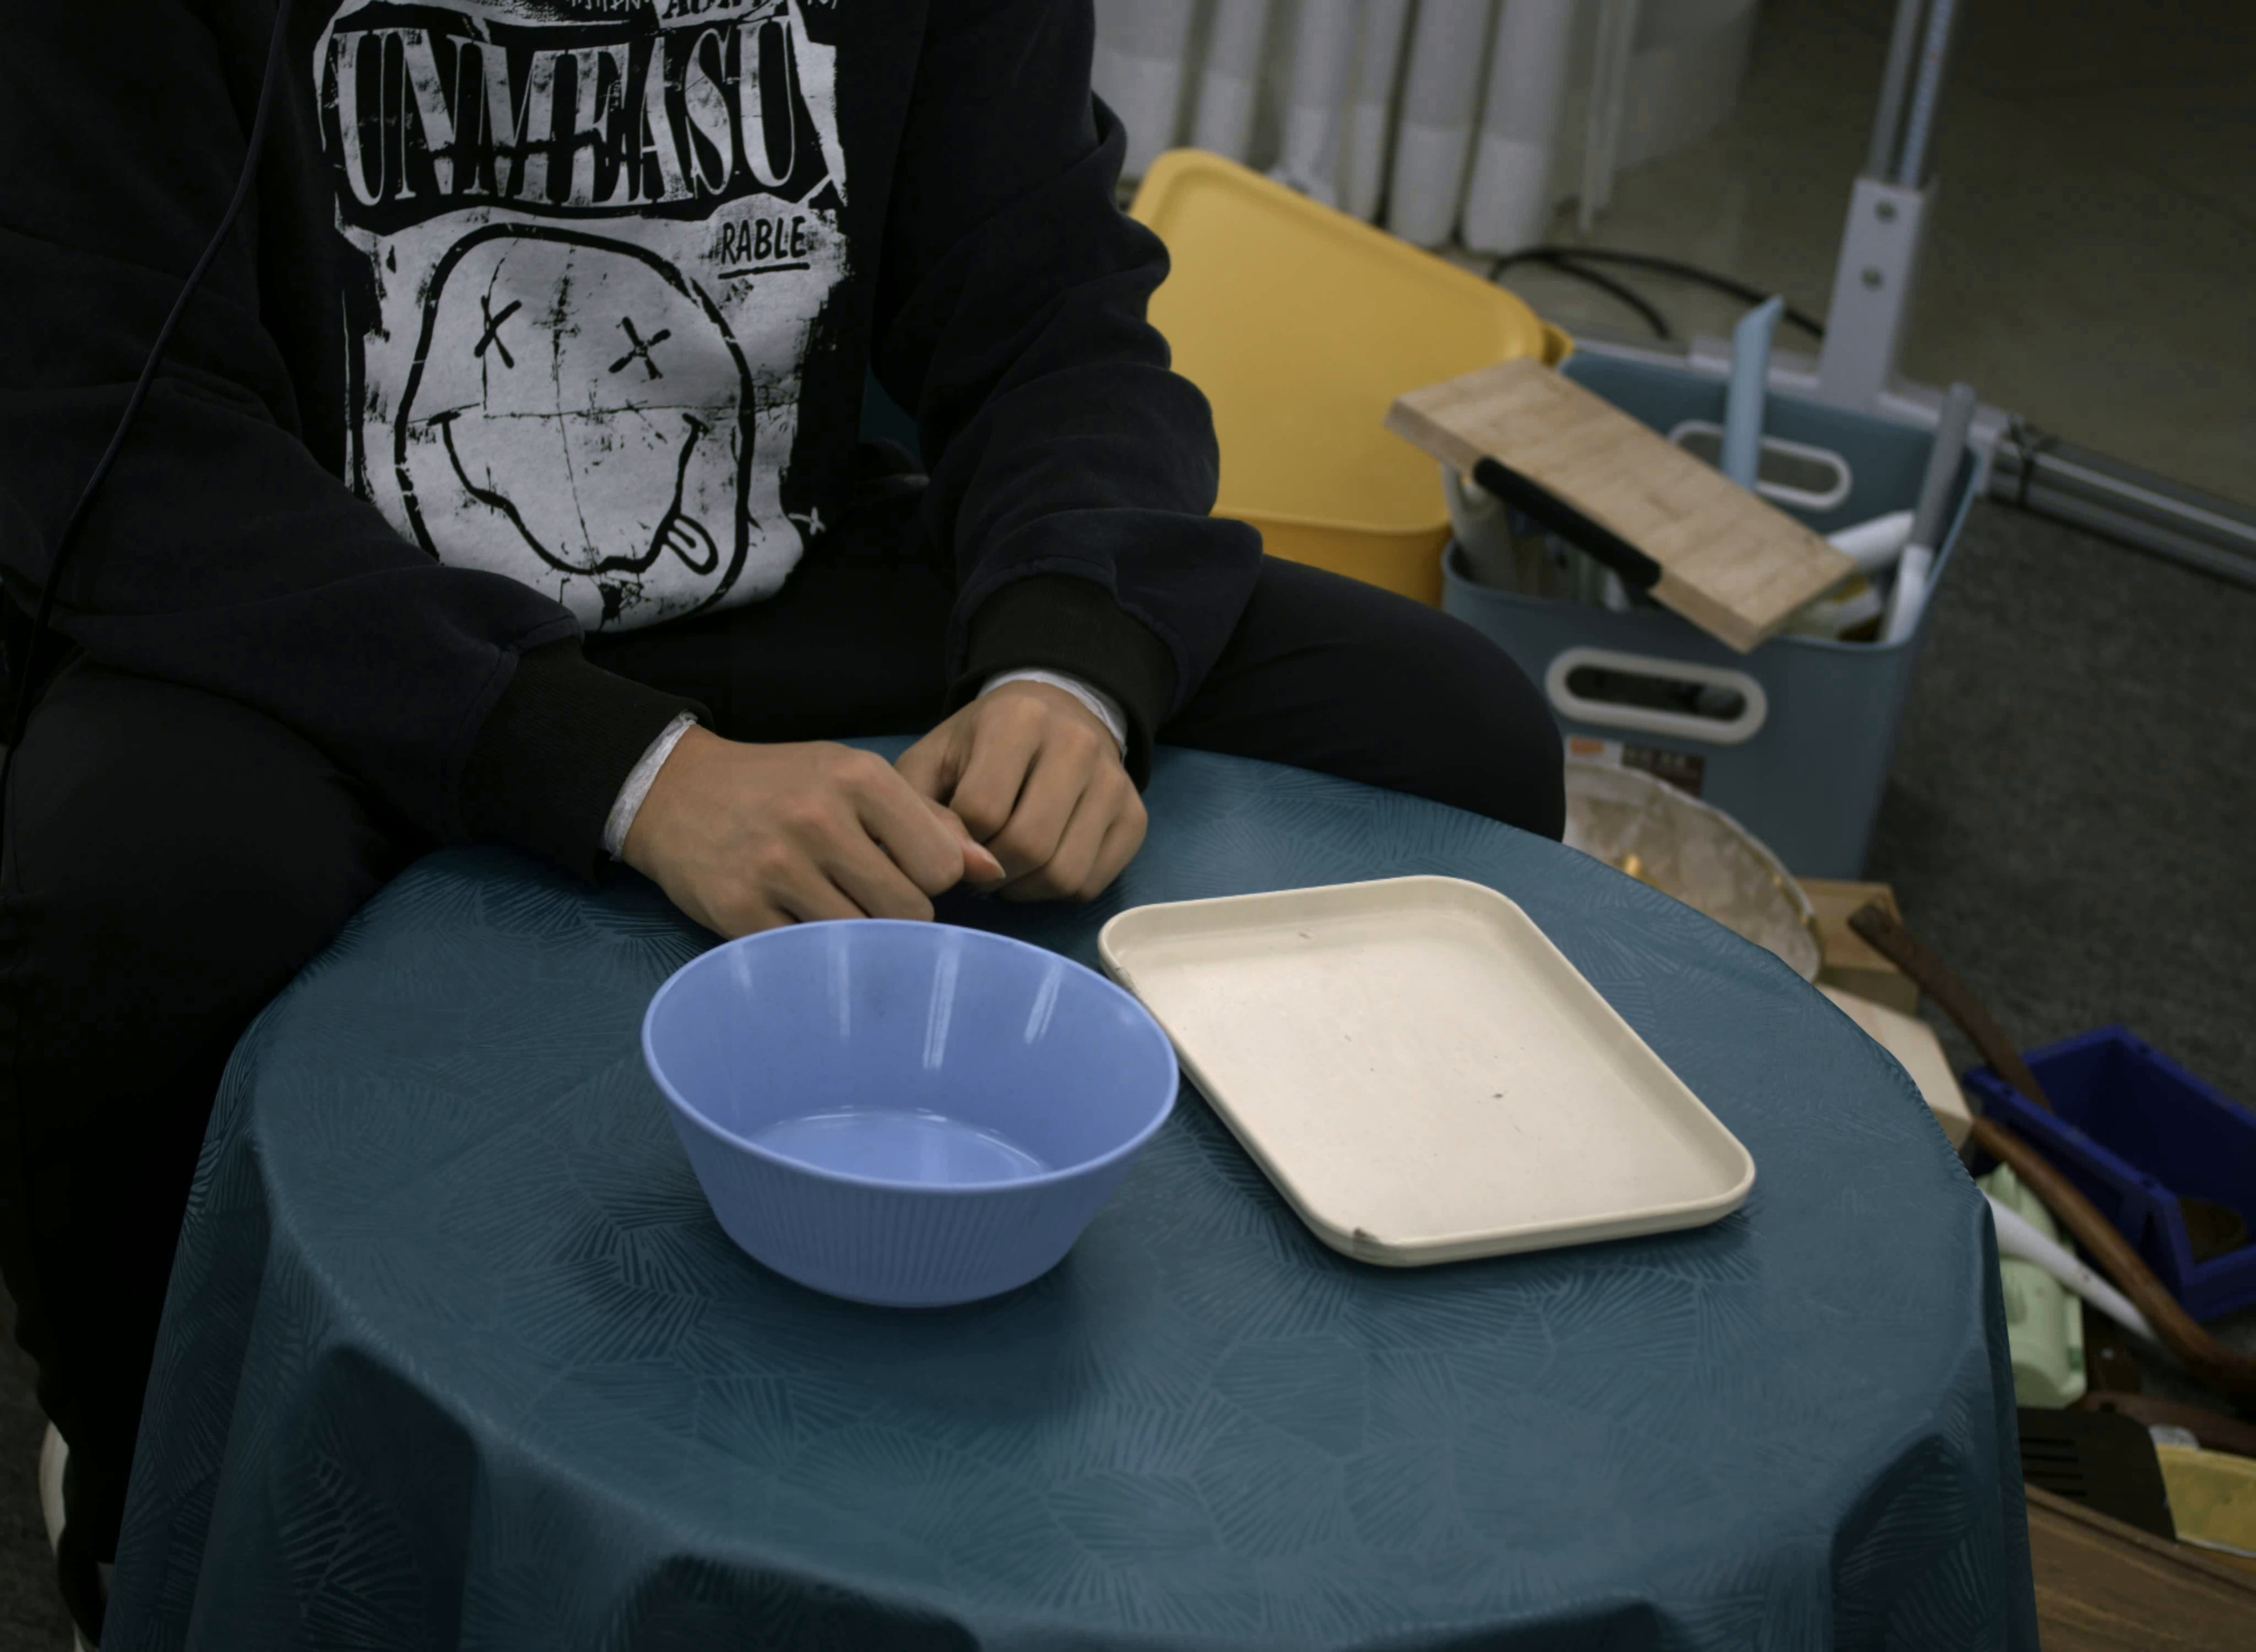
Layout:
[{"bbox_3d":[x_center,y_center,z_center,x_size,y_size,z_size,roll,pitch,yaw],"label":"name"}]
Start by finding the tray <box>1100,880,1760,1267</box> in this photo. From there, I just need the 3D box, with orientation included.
[{"bbox_3d":[0.103,0.086,1.879,0.170,0.017,0.242,-5,29,-23],"label":"tray"}]

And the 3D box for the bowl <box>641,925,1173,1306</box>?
[{"bbox_3d":[-0.075,0.101,1.750,0.175,0.070,0.177,6,26,-3],"label":"bowl"}]
